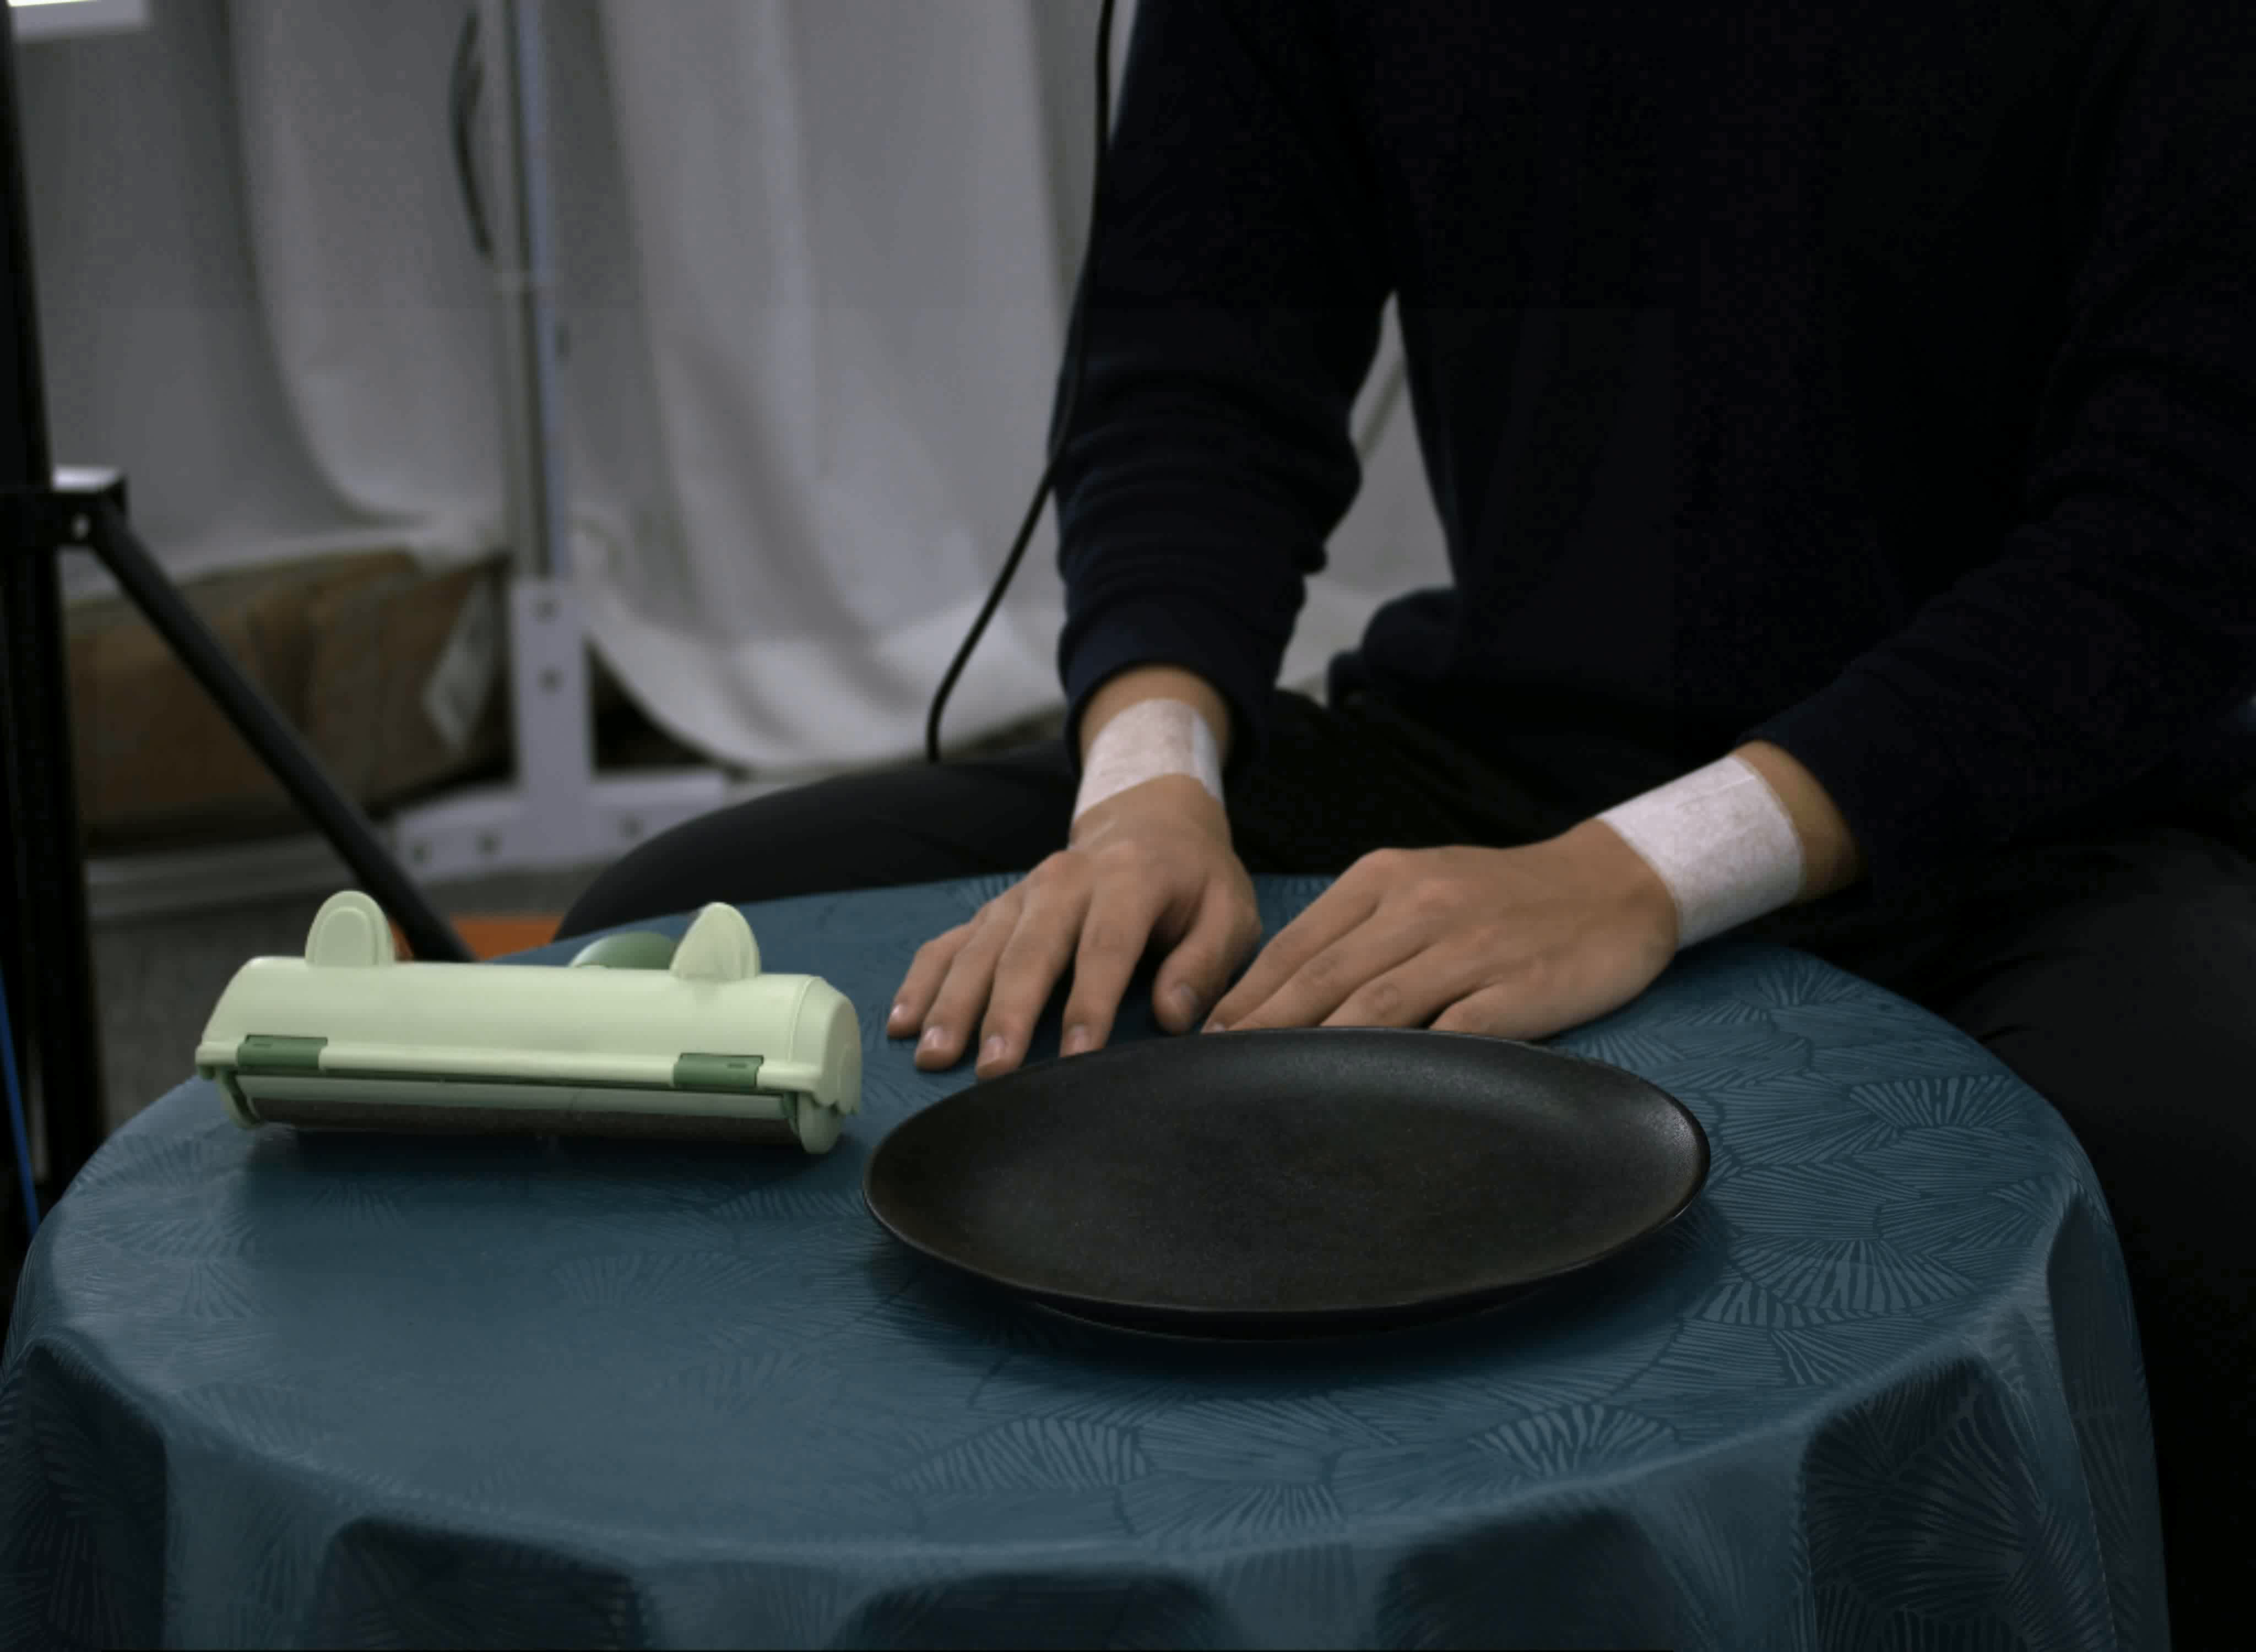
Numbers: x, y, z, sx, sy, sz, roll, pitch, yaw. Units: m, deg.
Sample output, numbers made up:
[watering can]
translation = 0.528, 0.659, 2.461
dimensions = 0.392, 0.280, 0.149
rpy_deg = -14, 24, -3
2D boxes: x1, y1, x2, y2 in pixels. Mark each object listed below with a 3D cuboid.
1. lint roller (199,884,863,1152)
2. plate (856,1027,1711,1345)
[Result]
[lint roller]
translation = -0.170, 0.040, 1.668
dimensions = 0.199, 0.082, 0.183
rpy_deg = 2, 23, 12
[plate]
translation = 0.045, 0.105, 1.516
dimensions = 0.243, 0.023, 0.245
rpy_deg = -3, 16, -1
